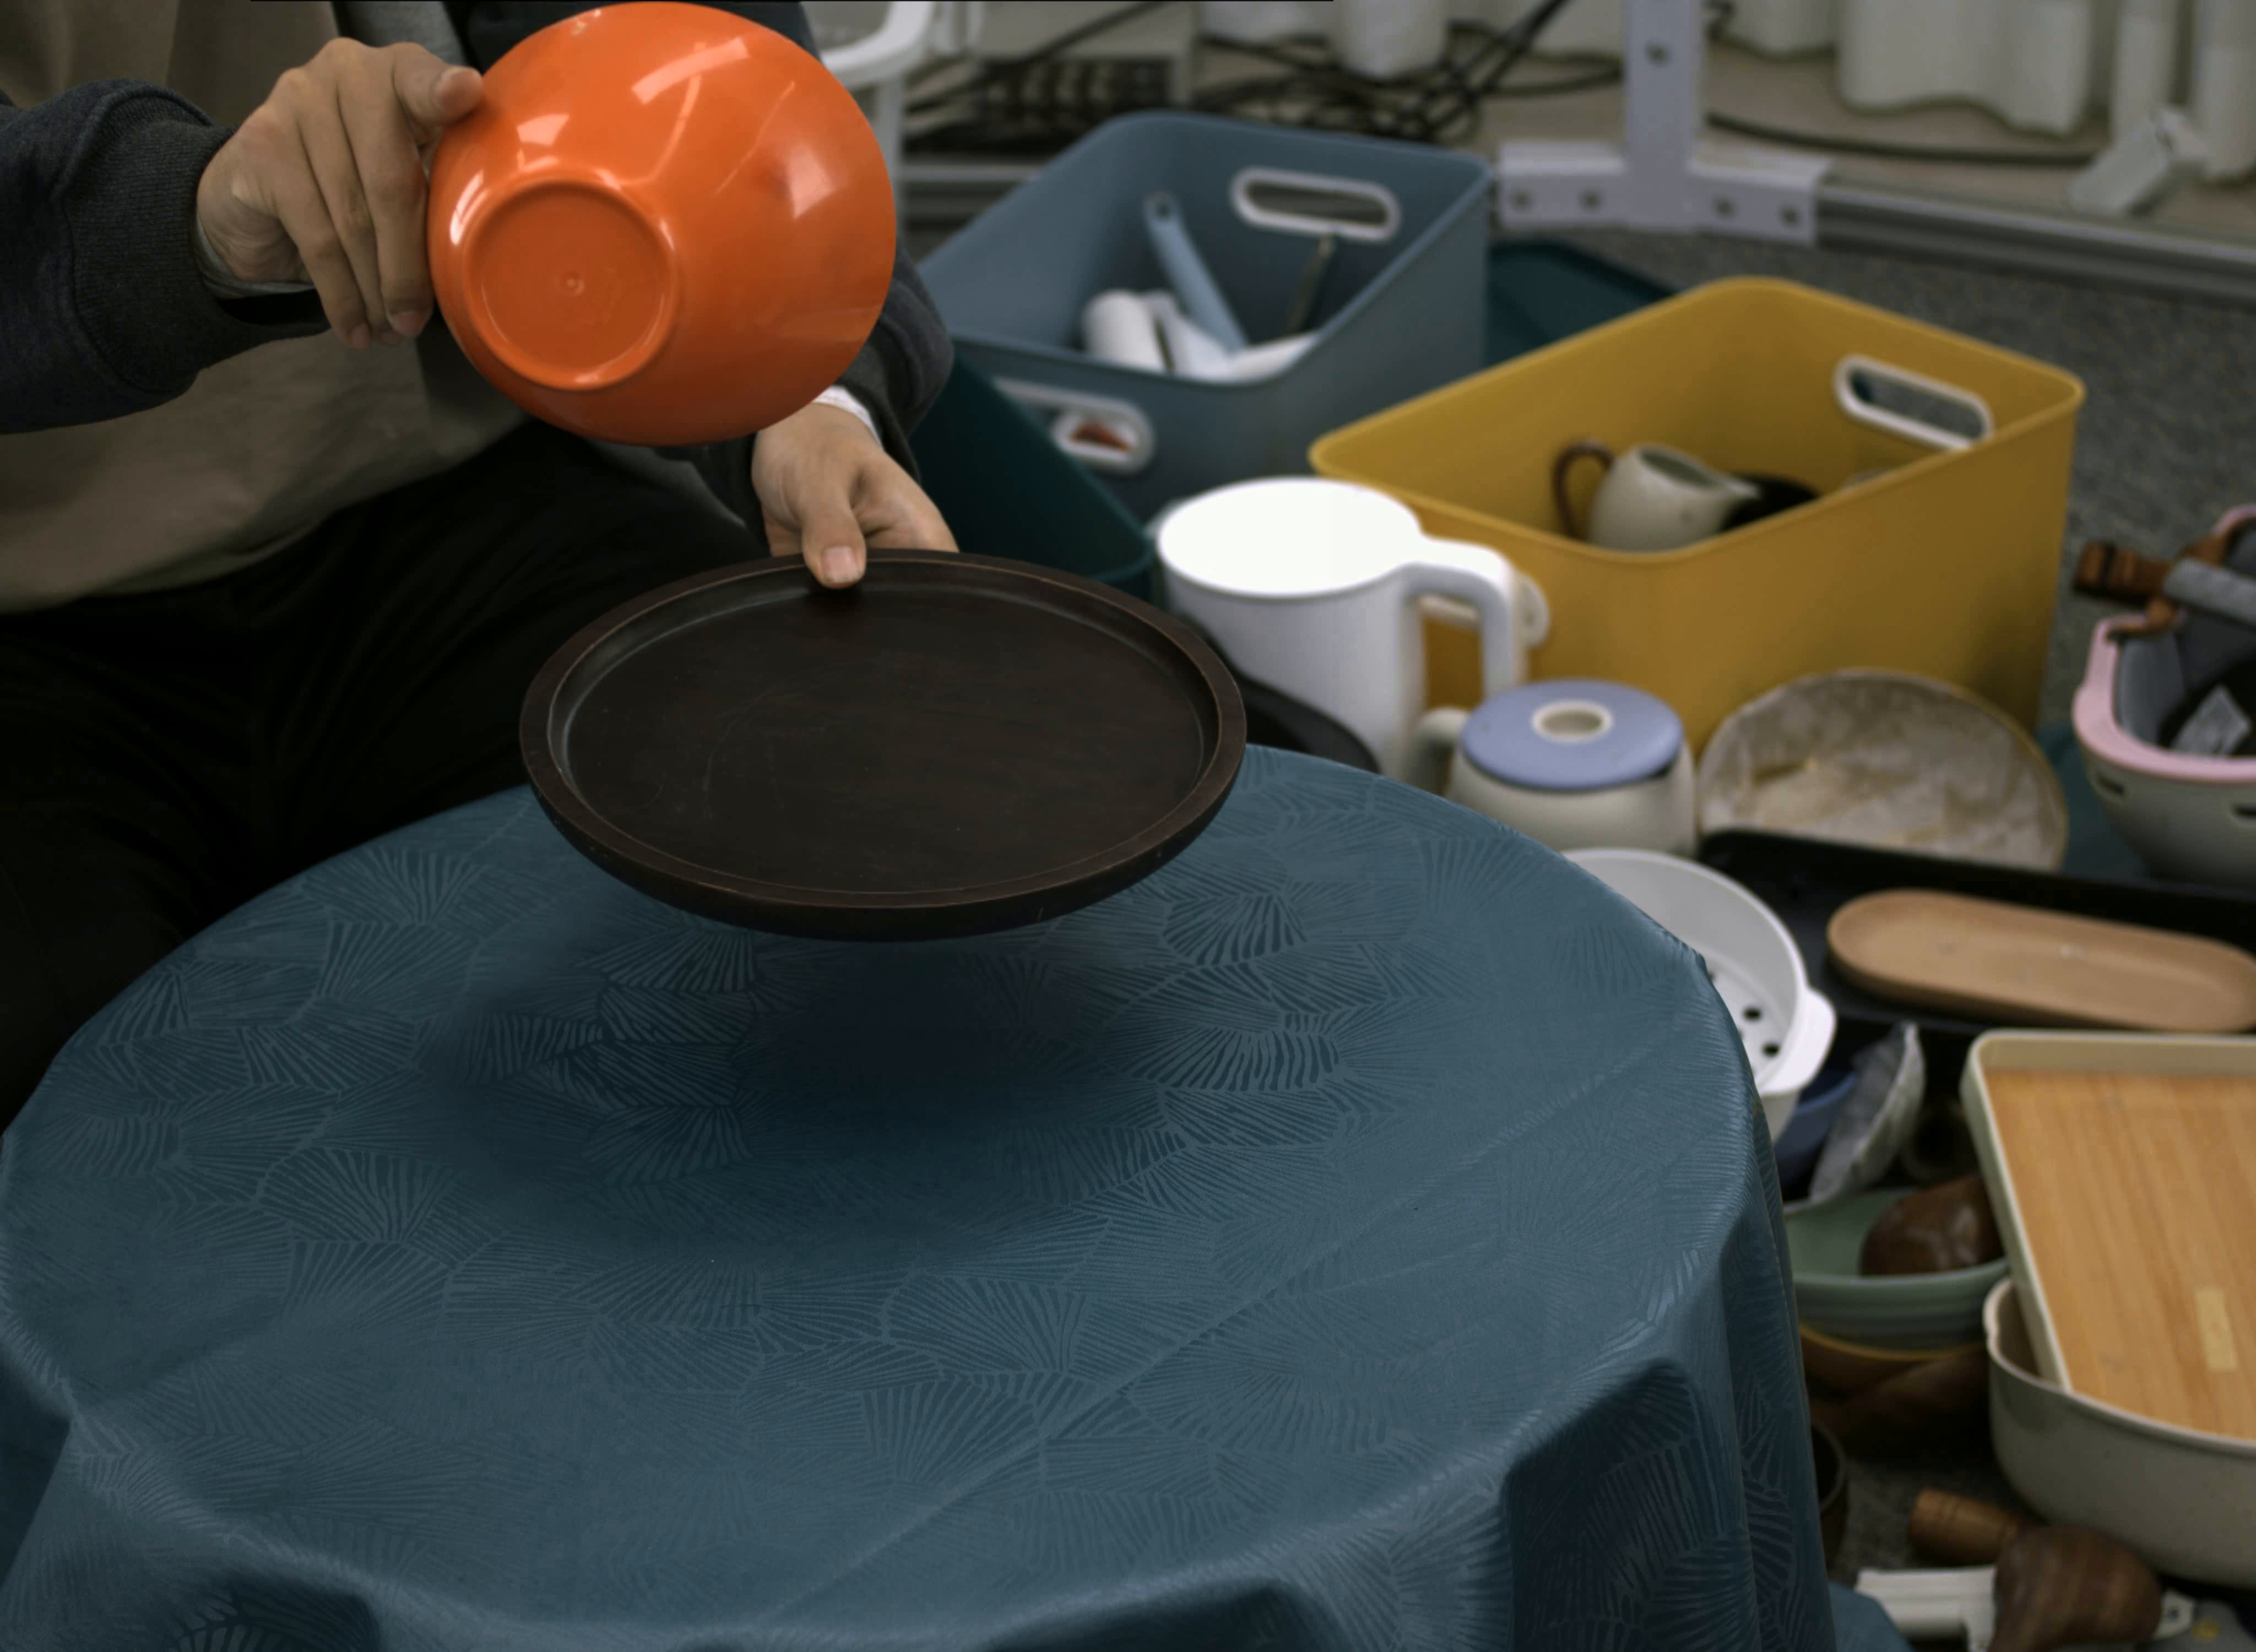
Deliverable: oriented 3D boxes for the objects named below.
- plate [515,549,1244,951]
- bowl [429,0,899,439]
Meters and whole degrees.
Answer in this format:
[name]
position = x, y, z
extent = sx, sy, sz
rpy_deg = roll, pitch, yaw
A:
[plate]
position = -0.085, -0.029, 1.950
extent = 0.253, 0.028, 0.259
rpy_deg = 0, 31, 0
[bowl]
position = -0.152, -0.179, 1.750
extent = 0.147, 0.147, 0.106
rpy_deg = 1, 19, 7
